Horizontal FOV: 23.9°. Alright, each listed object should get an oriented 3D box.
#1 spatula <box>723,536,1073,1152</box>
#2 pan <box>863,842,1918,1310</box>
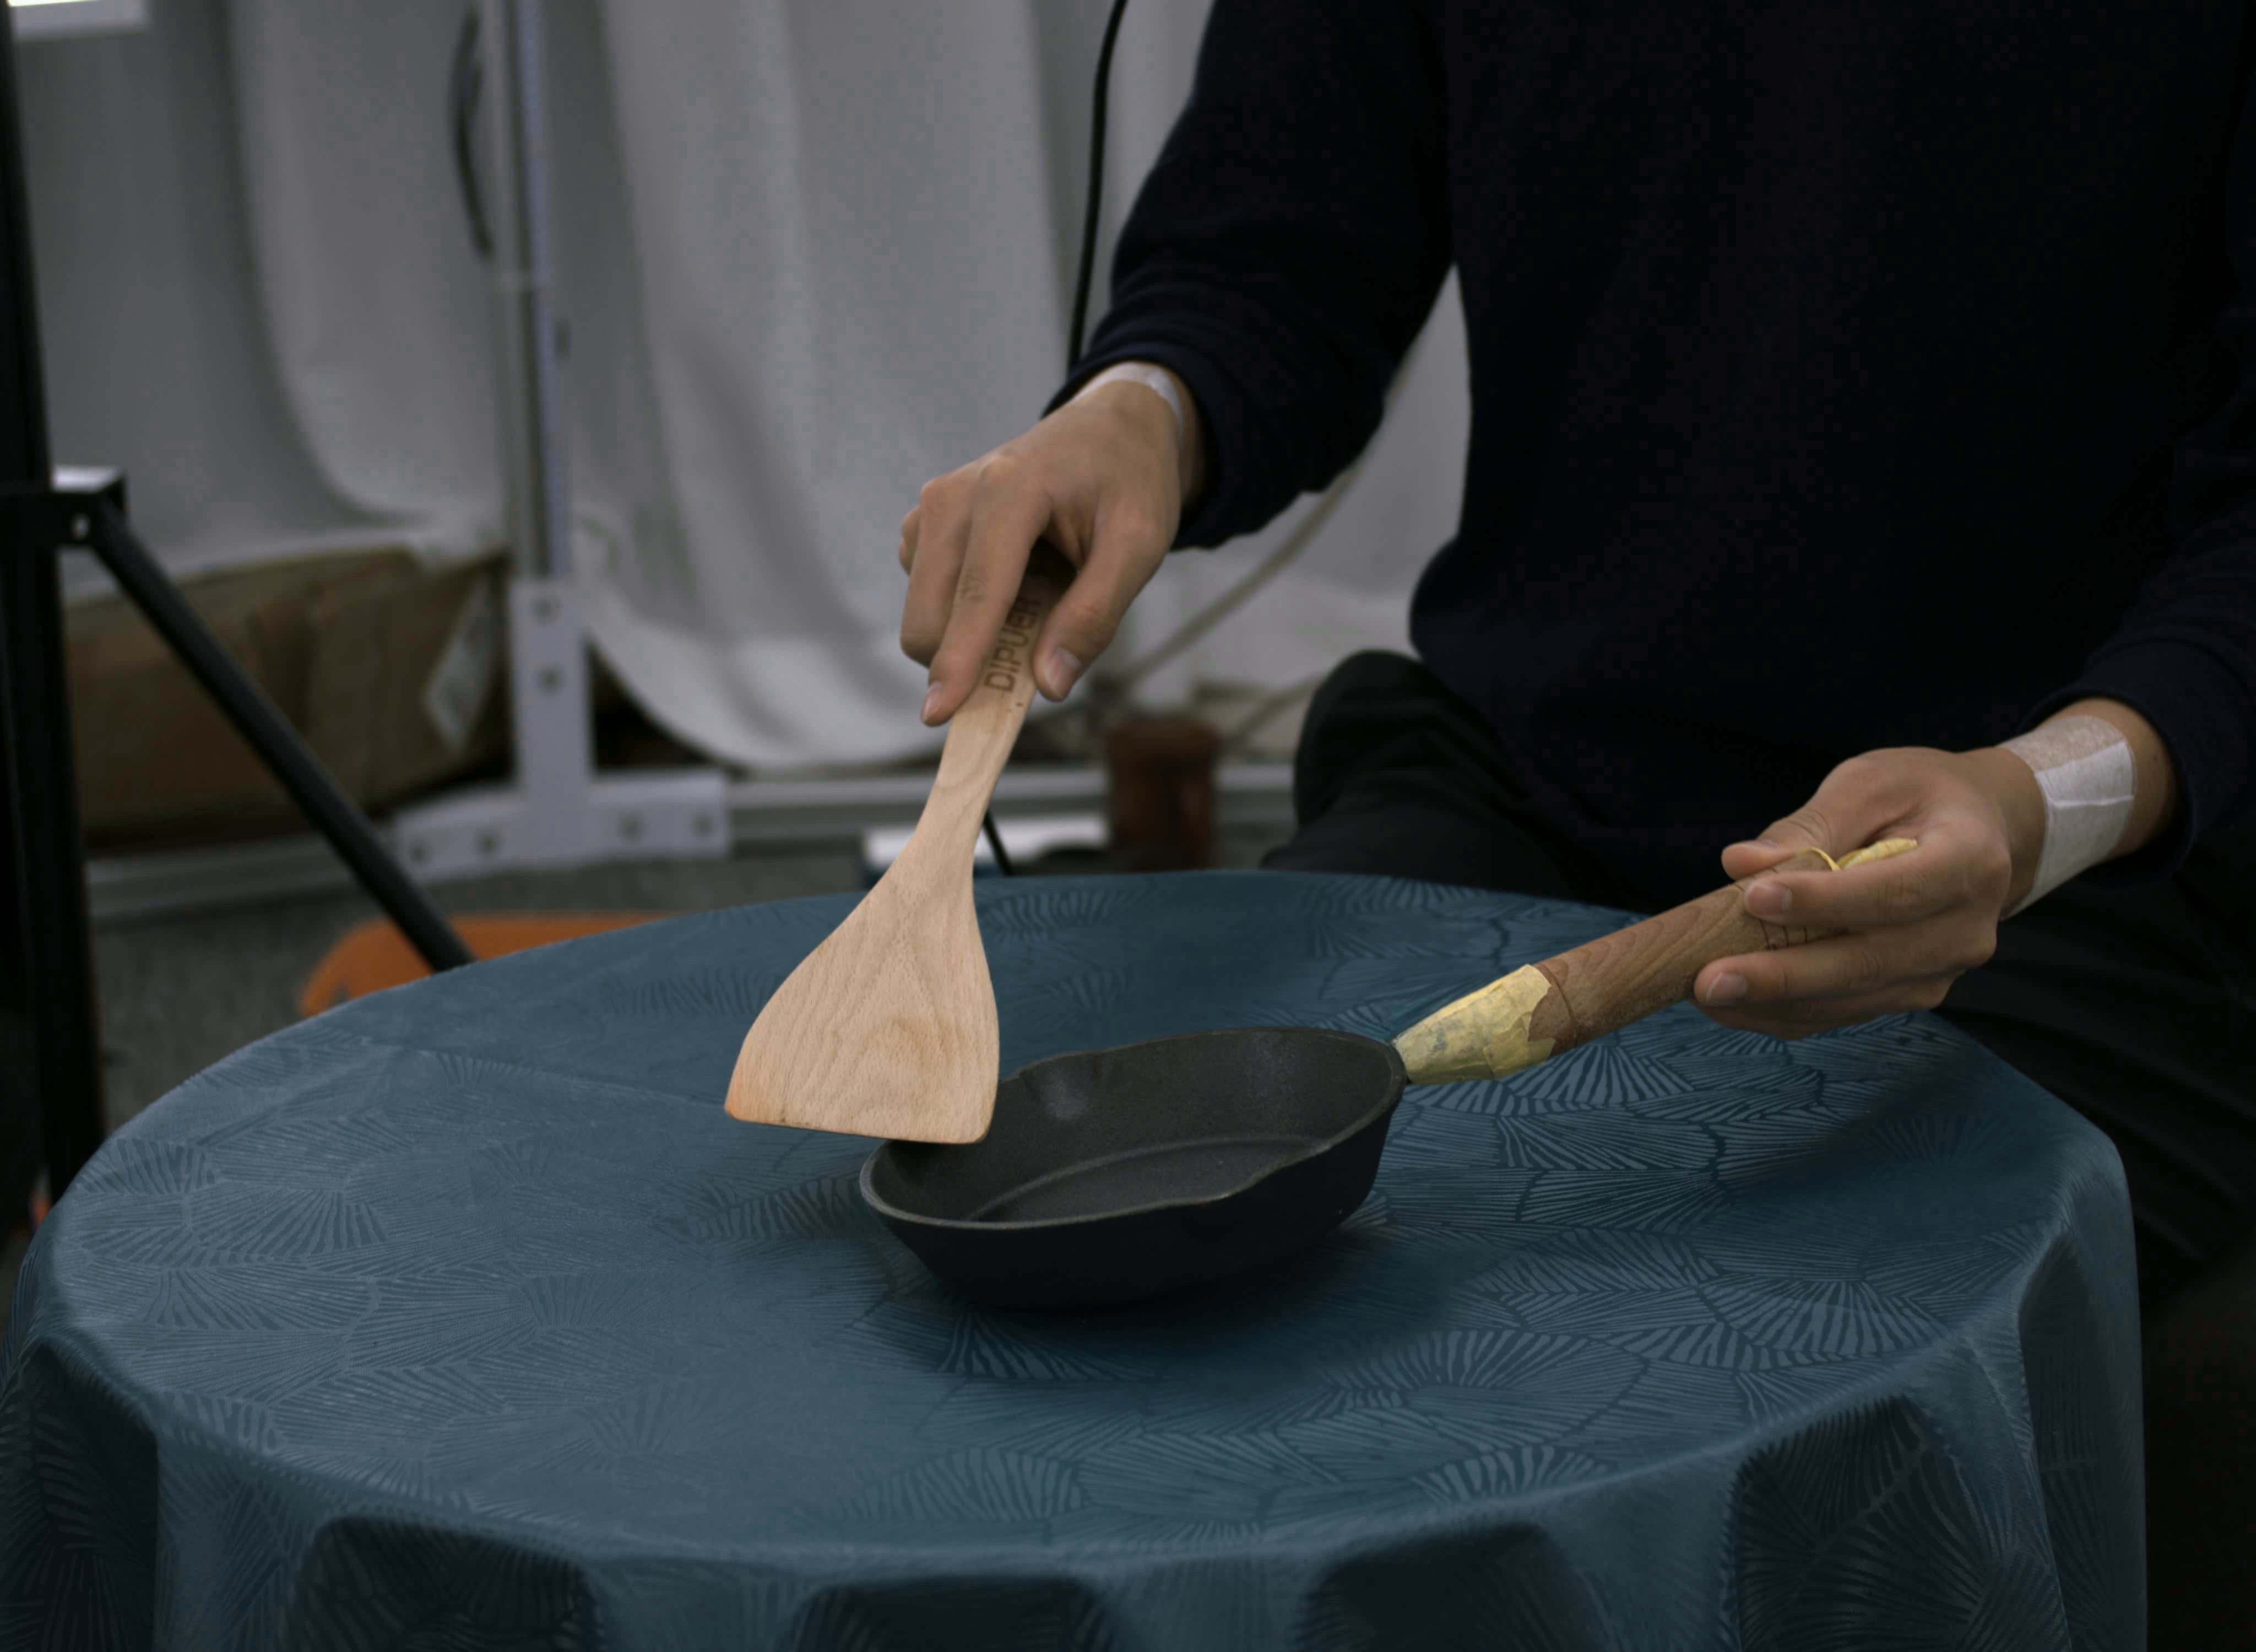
[{"bbox_3d":[-0.054,0.000,1.648,0.080,0.016,0.328,12,38,3],"label":"spatula"},{"bbox_3d":[0.082,0.069,1.509,0.320,0.049,0.171,-16,14,-10],"label":"pan"}]
